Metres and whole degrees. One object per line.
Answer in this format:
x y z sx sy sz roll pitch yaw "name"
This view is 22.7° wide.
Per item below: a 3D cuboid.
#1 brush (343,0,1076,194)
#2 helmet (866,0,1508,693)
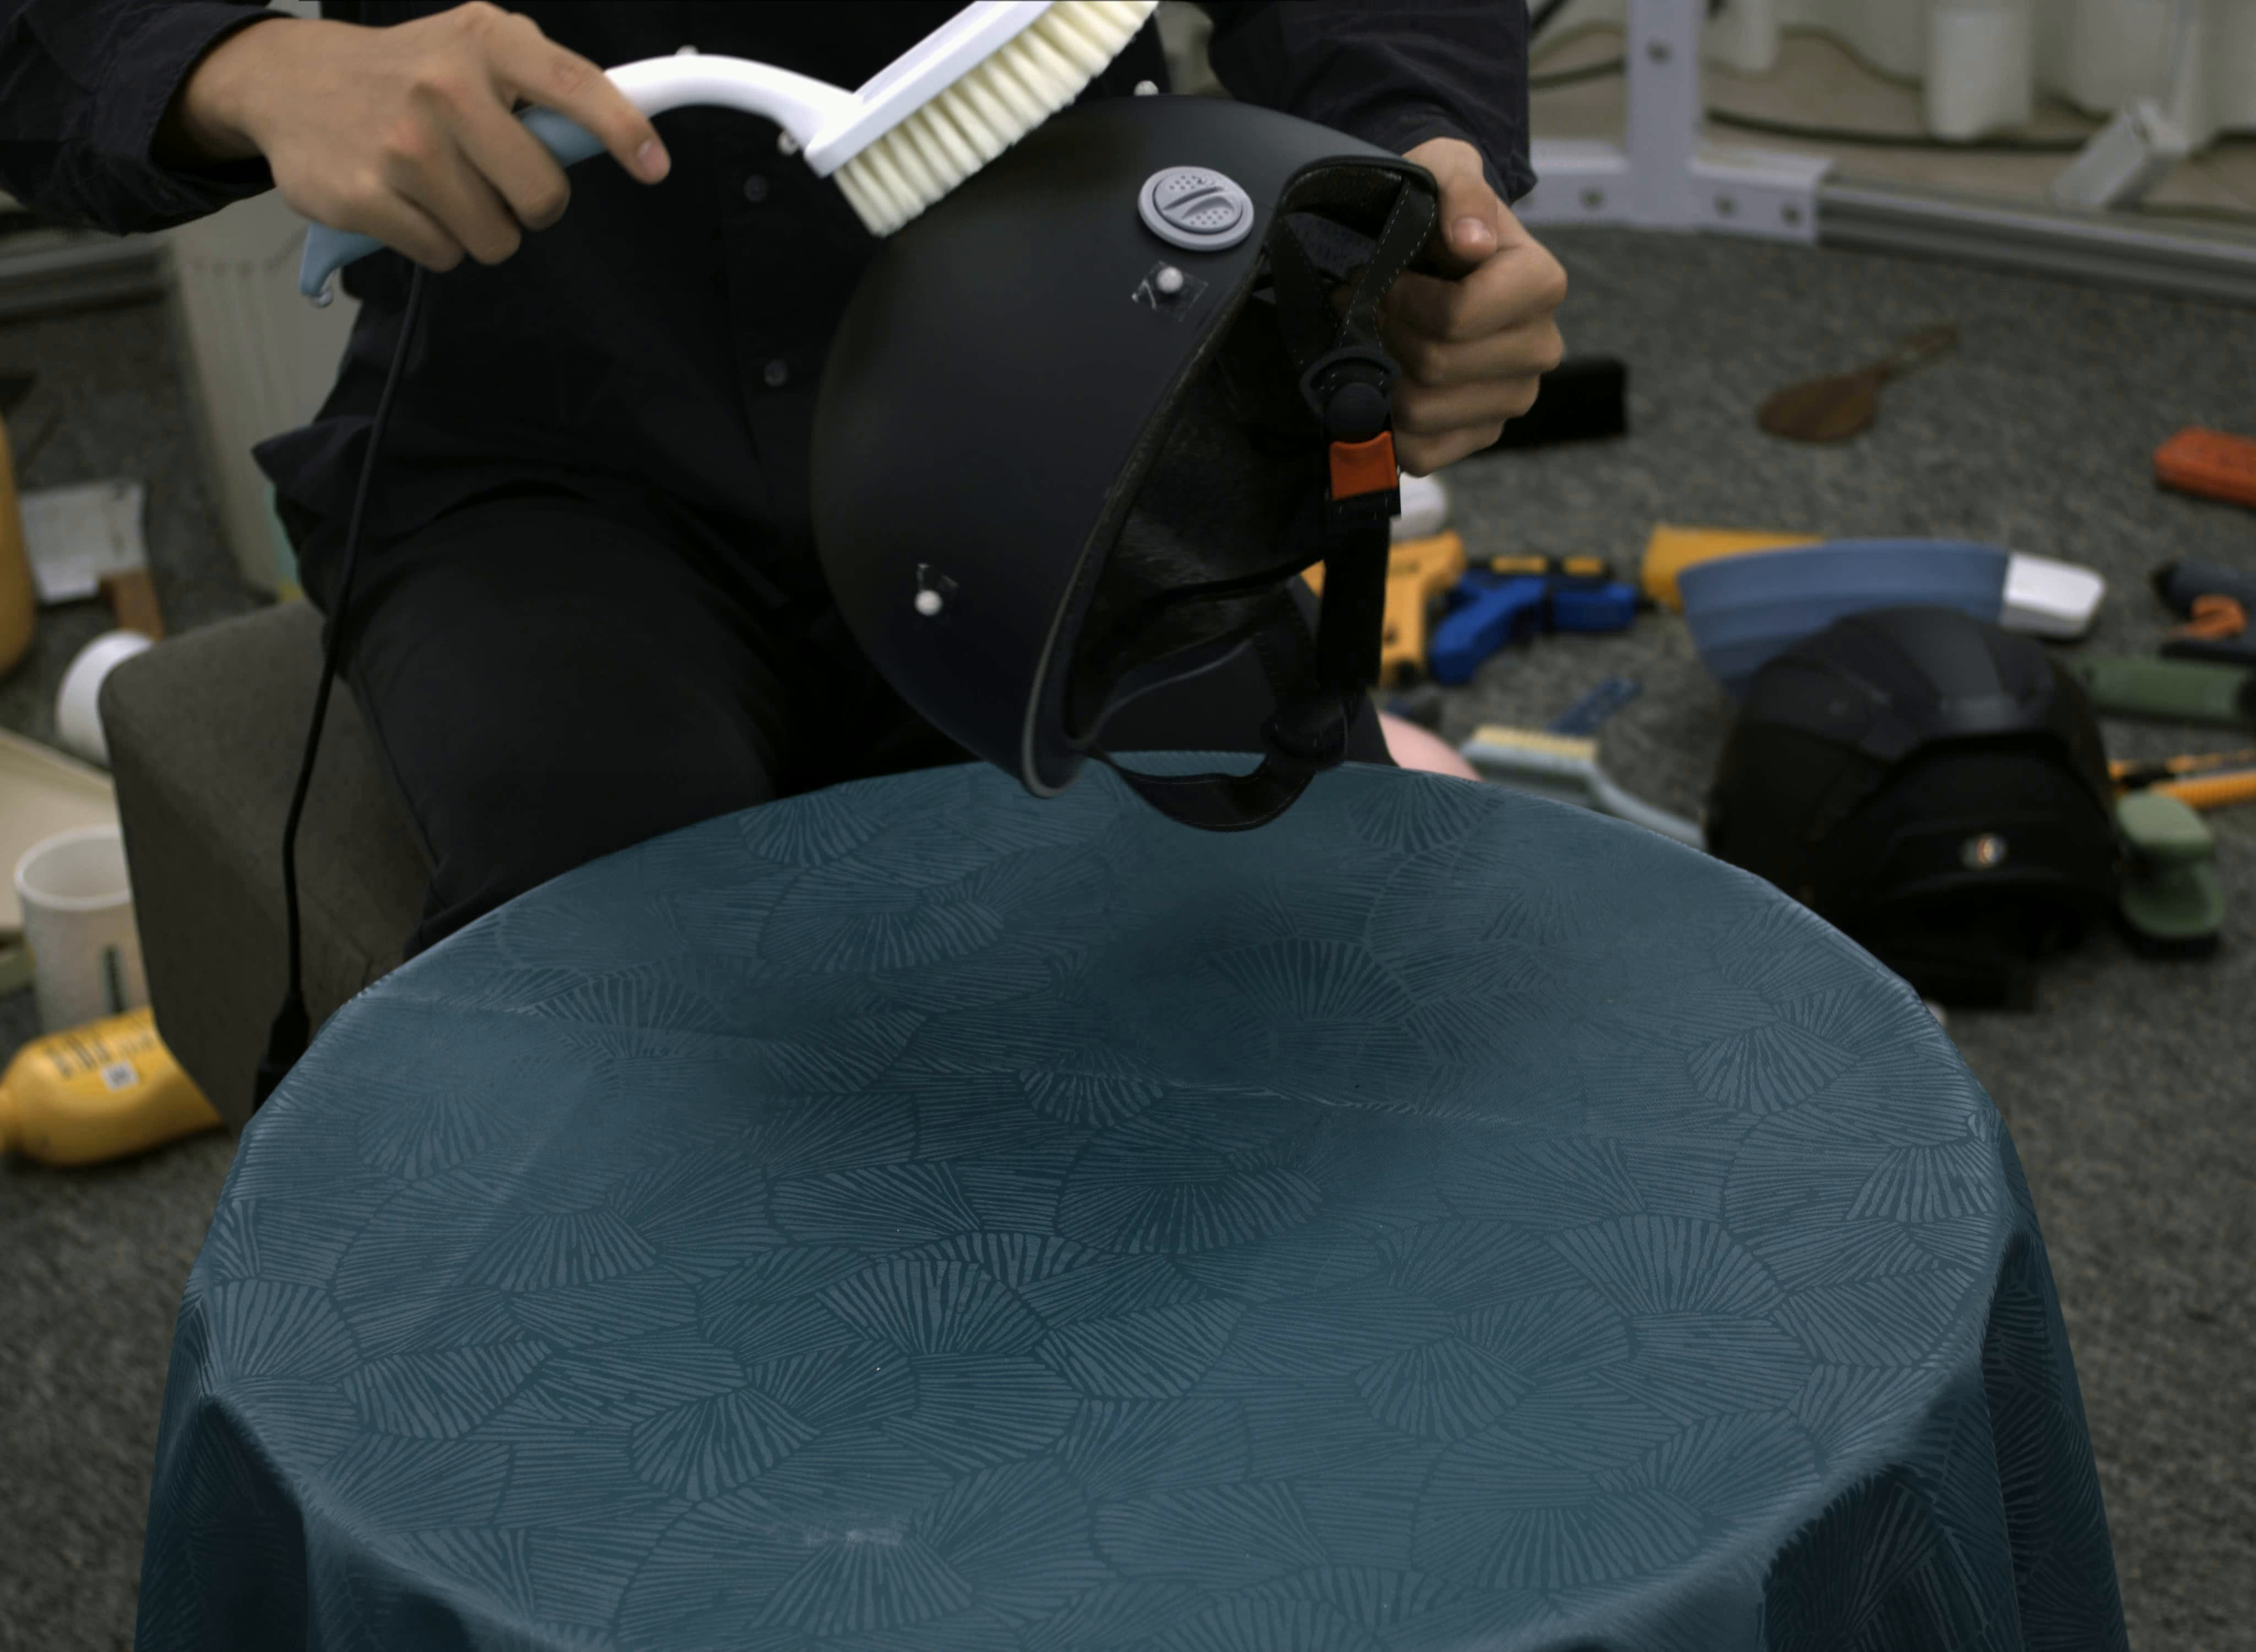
-0.116 -0.253 1.904 0.322 0.086 0.083 -21 -21 21 "brush"
0.003 -0.180 1.916 0.166 0.226 0.277 29 36 19 "helmet"
